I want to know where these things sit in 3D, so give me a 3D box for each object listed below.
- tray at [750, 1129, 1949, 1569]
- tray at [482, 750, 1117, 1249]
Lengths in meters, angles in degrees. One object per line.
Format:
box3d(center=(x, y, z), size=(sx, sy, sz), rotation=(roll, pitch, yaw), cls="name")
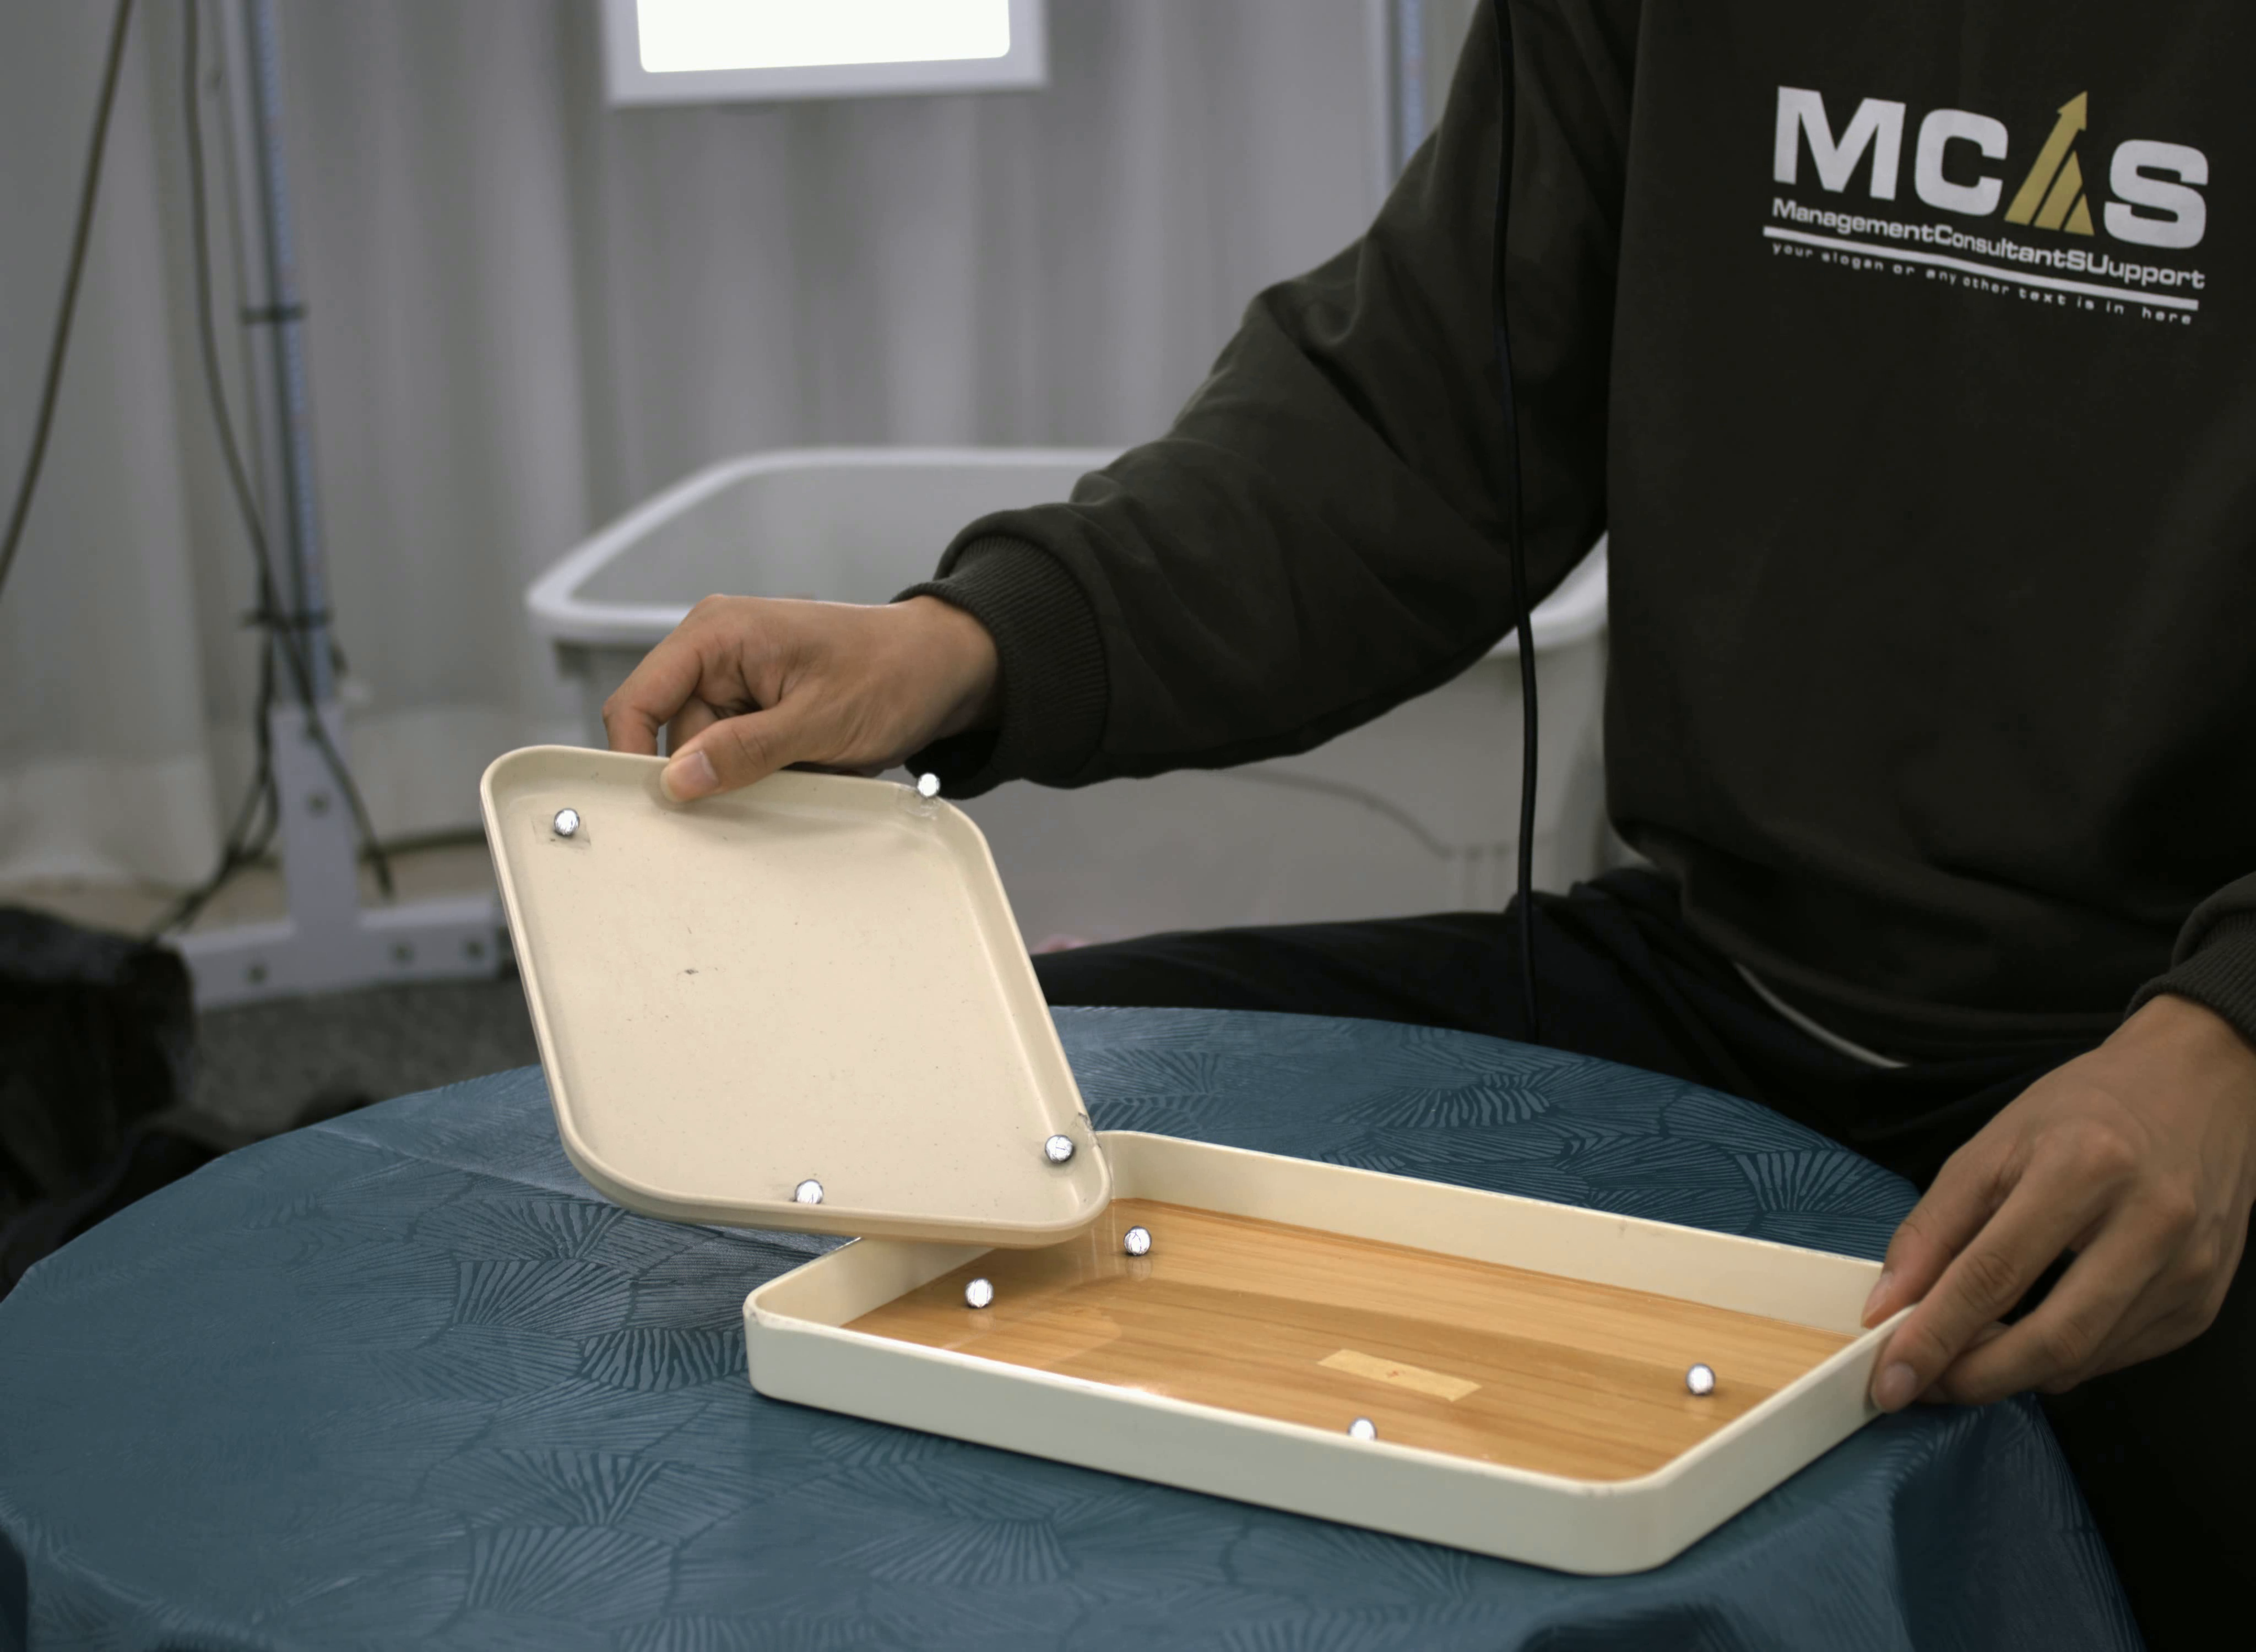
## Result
box3d(center=(0.062, 0.144, 1.548), size=(0.301, 0.027, 0.191), rotation=(8, 18, 34), cls="tray")
box3d(center=(-0.106, 0.053, 1.690), size=(0.170, 0.017, 0.243), rotation=(6, 32, -19), cls="tray")
